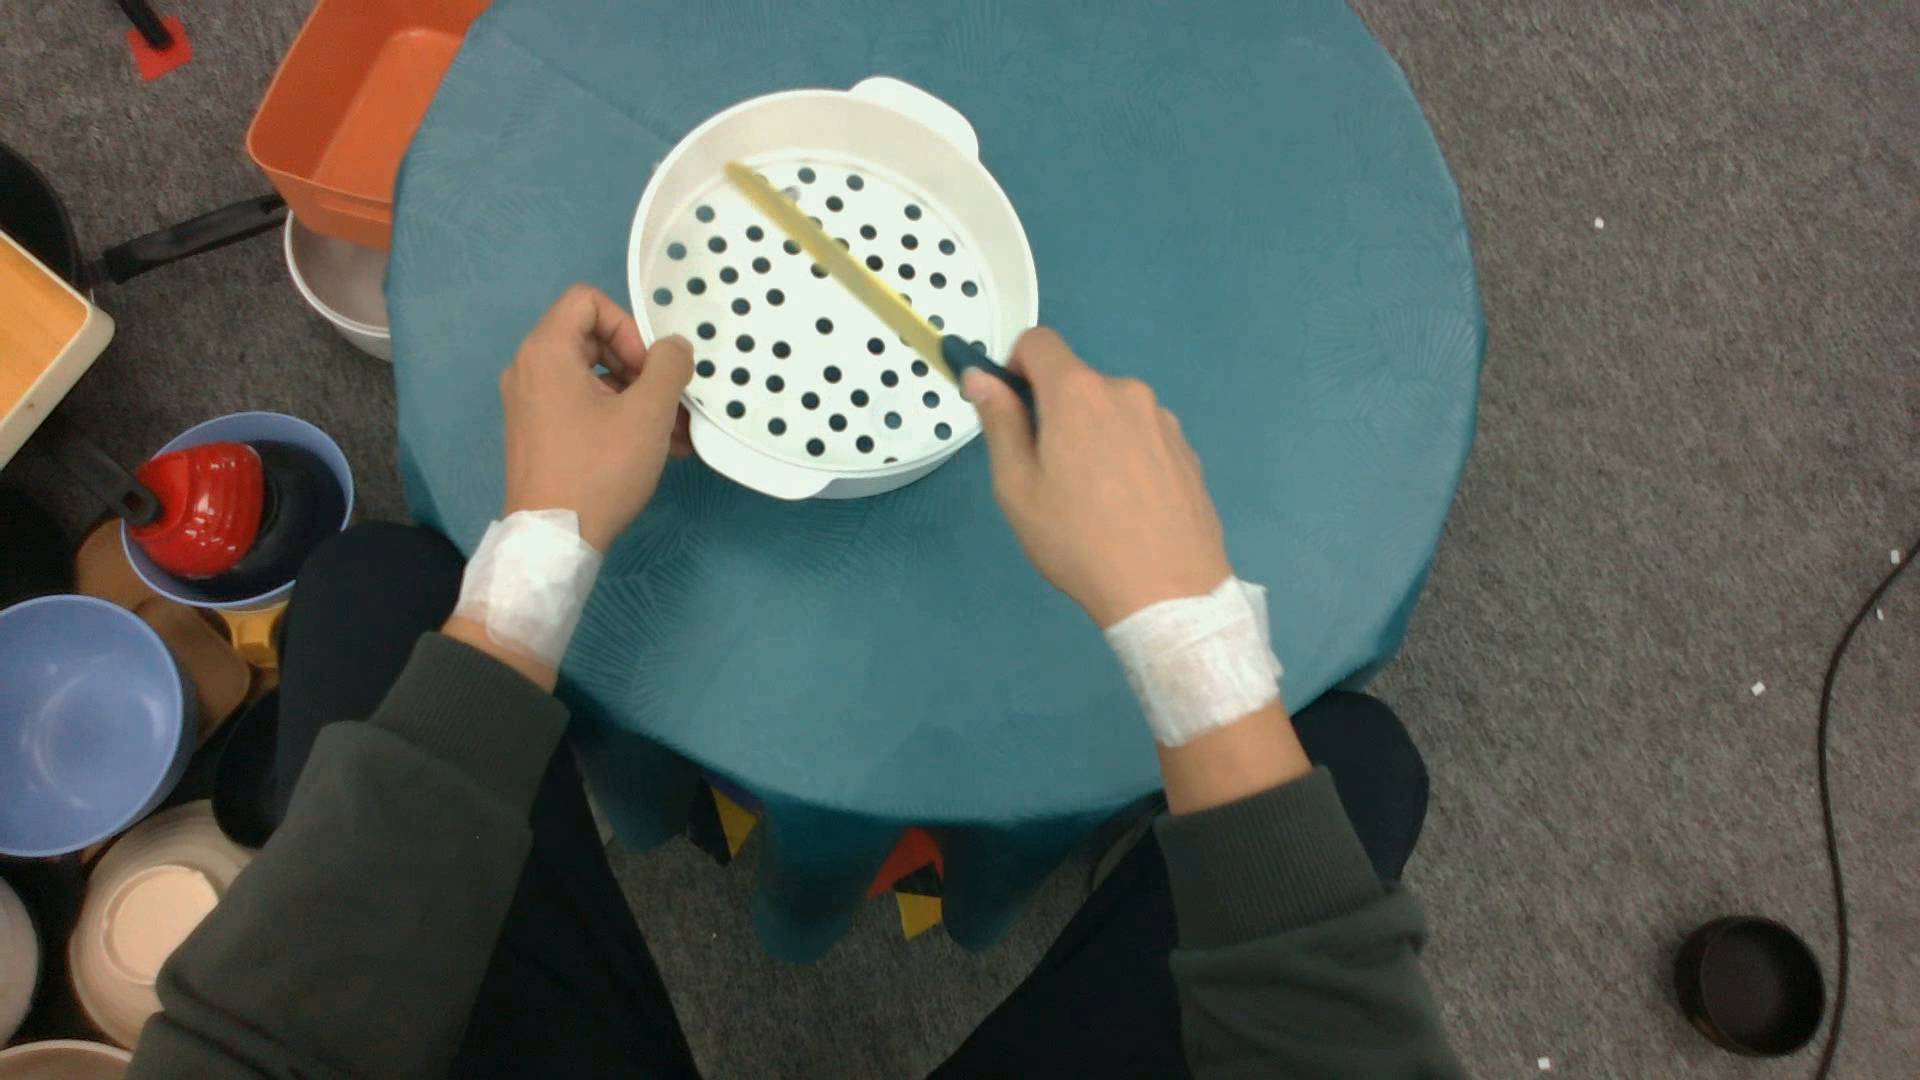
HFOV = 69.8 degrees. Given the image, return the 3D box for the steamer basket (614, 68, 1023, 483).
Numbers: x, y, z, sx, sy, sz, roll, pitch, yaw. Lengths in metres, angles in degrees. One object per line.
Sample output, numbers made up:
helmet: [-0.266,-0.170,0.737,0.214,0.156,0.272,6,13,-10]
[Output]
steamer basket: [-0.073,-0.129,0.704,0.202,0.069,0.231,25,72,-7]

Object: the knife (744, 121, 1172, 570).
knife: [-0.008,-0.094,0.625,0.027,0.081,0.289,-42,77,1]
